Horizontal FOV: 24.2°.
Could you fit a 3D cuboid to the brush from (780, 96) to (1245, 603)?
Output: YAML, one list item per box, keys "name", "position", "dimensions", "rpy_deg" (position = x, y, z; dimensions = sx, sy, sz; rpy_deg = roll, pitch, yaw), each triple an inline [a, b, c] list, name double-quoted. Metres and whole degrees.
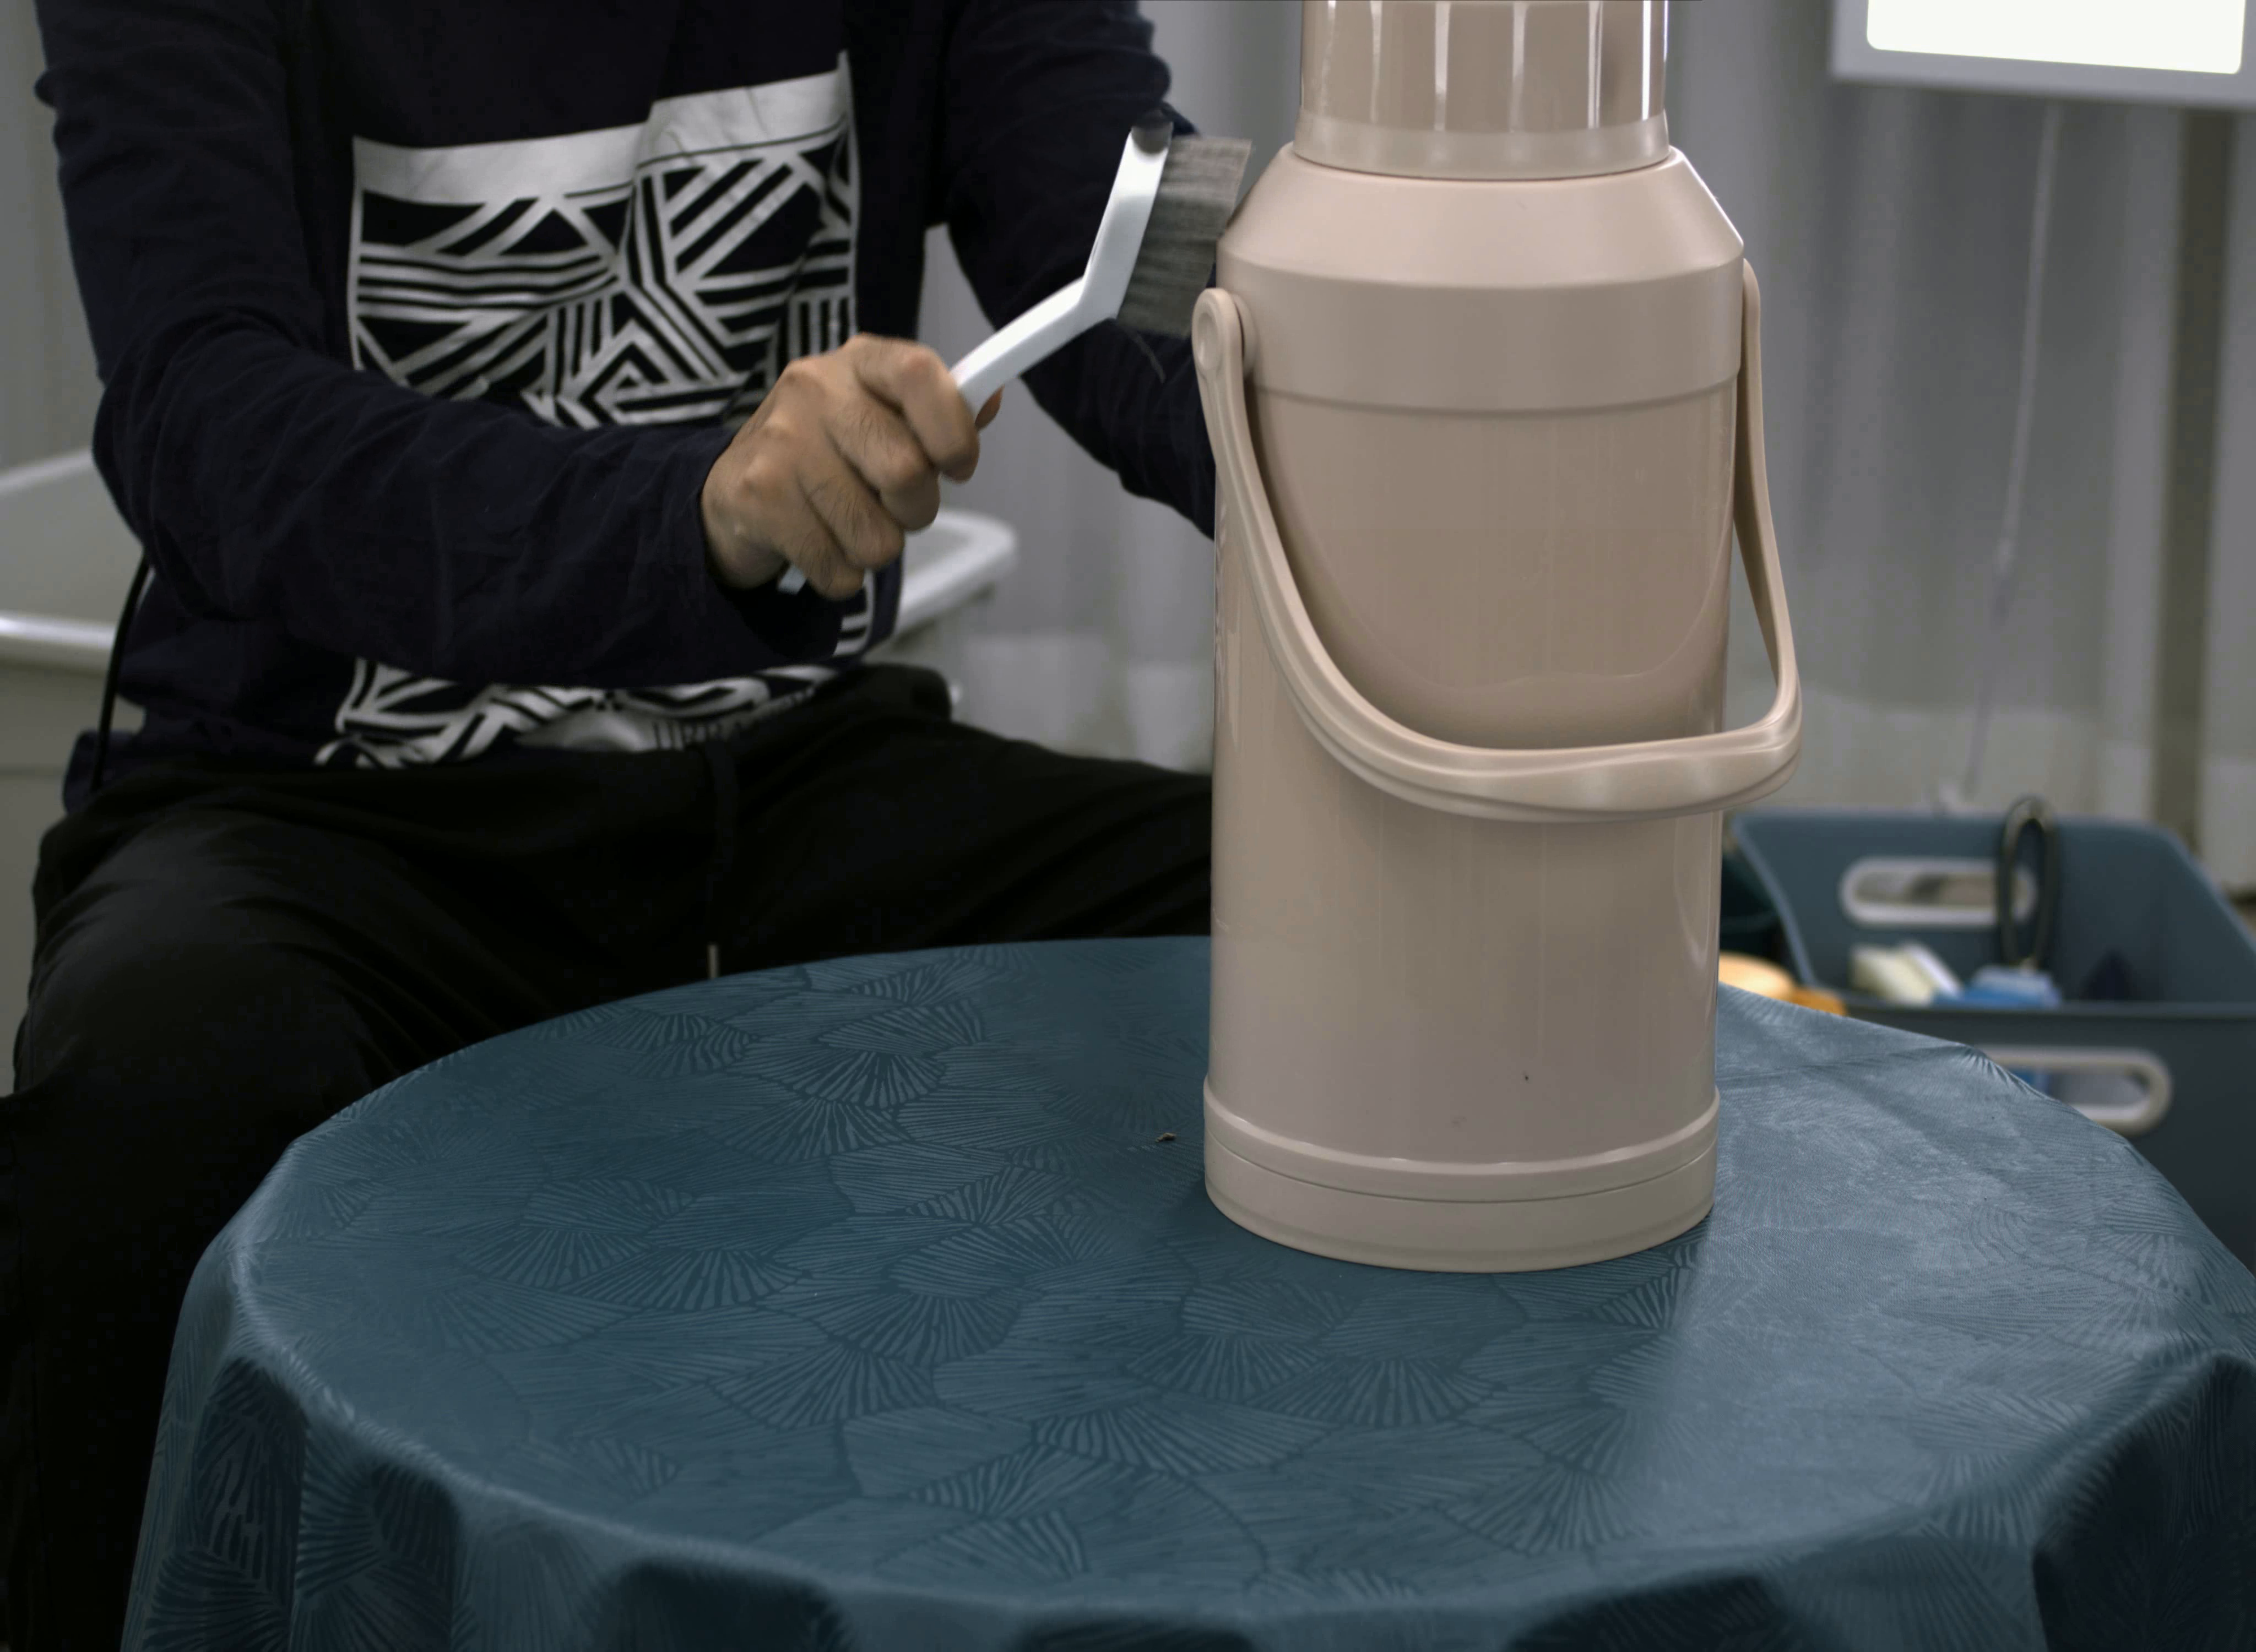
- name: "brush"
  position: [-0.034, -0.136, 1.617]
  dimensions: [0.050, 0.244, 0.034]
  rpy_deg: [24, 45, -19]

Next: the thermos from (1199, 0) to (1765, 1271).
- name: "thermos"
  position: [0.102, -0.083, 1.590]
  dimensions: [0.176, 0.410, 0.204]
  rpy_deg: [-8, 18, -22]
